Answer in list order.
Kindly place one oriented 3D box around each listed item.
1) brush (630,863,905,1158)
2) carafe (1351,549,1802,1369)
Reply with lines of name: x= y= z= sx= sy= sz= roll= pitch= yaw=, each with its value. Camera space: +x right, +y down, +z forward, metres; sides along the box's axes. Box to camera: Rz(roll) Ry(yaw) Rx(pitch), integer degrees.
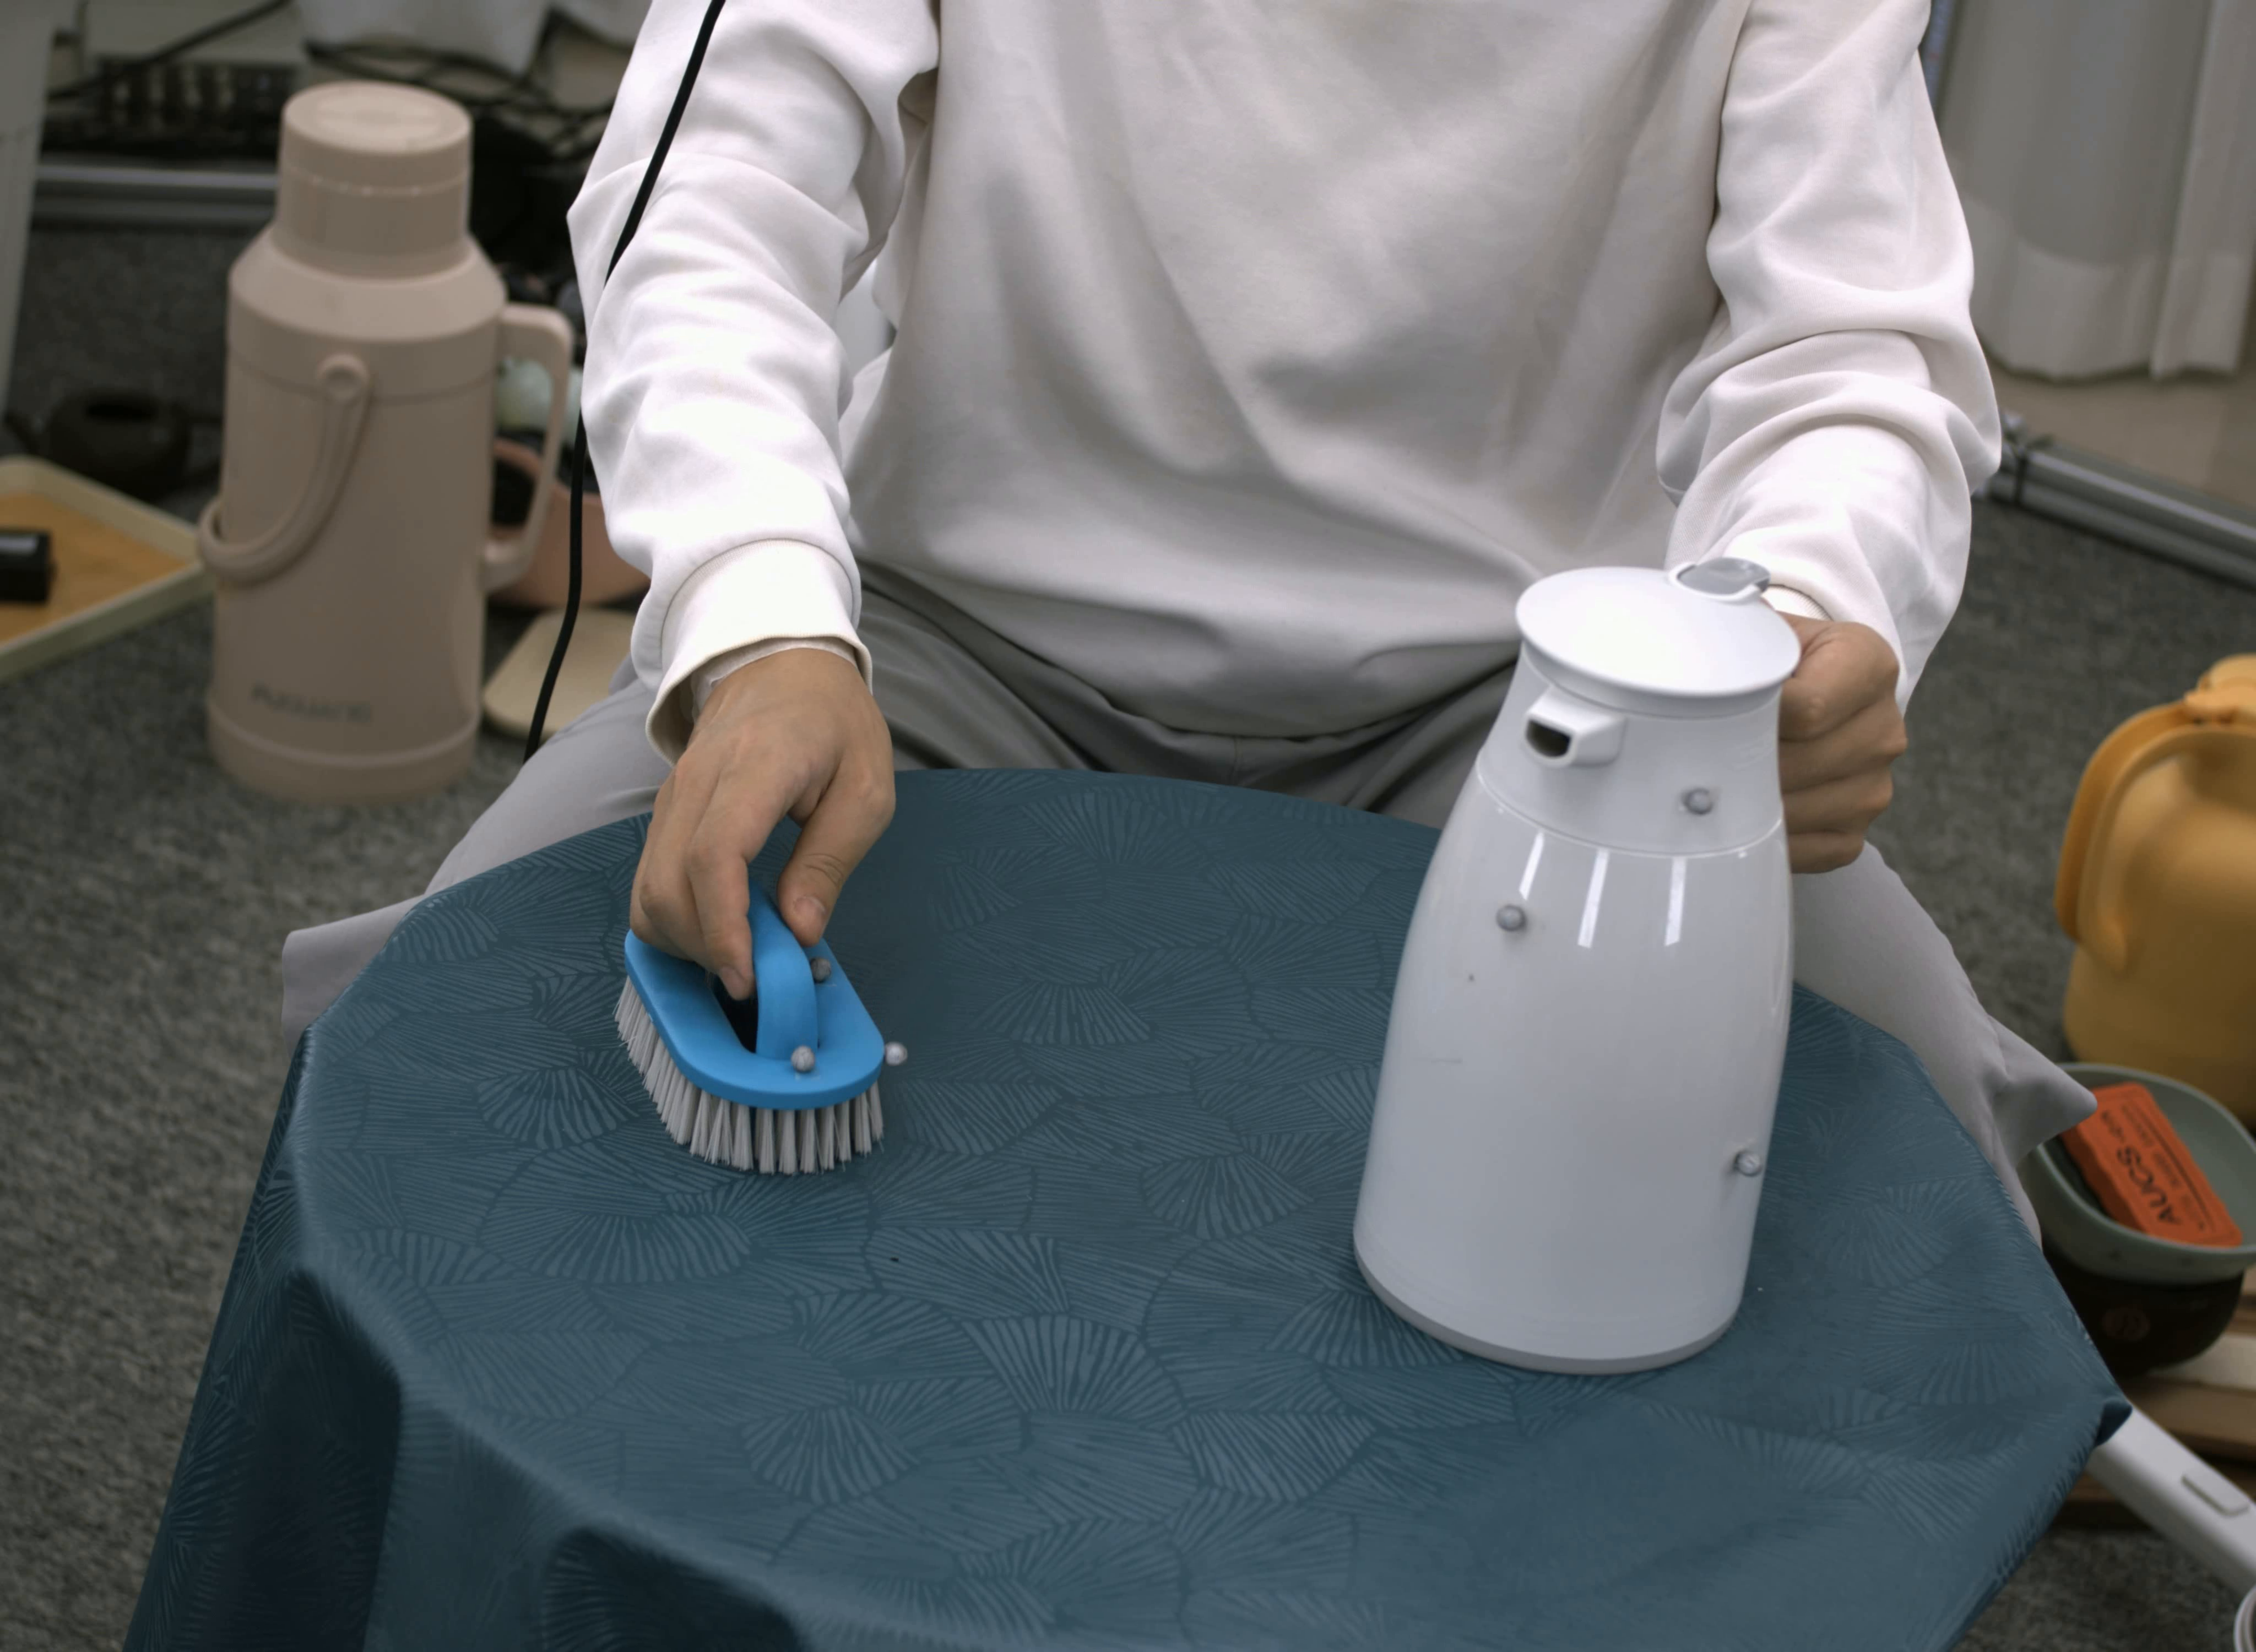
brush: x=-0.126 y=0.055 z=1.837 sx=0.084 sy=0.063 sz=0.143 roll=-6 pitch=27 yaw=-14
carafe: x=0.164 y=0.032 z=1.750 sx=0.133 sy=0.248 sz=0.167 roll=22 pitch=29 yaw=28
